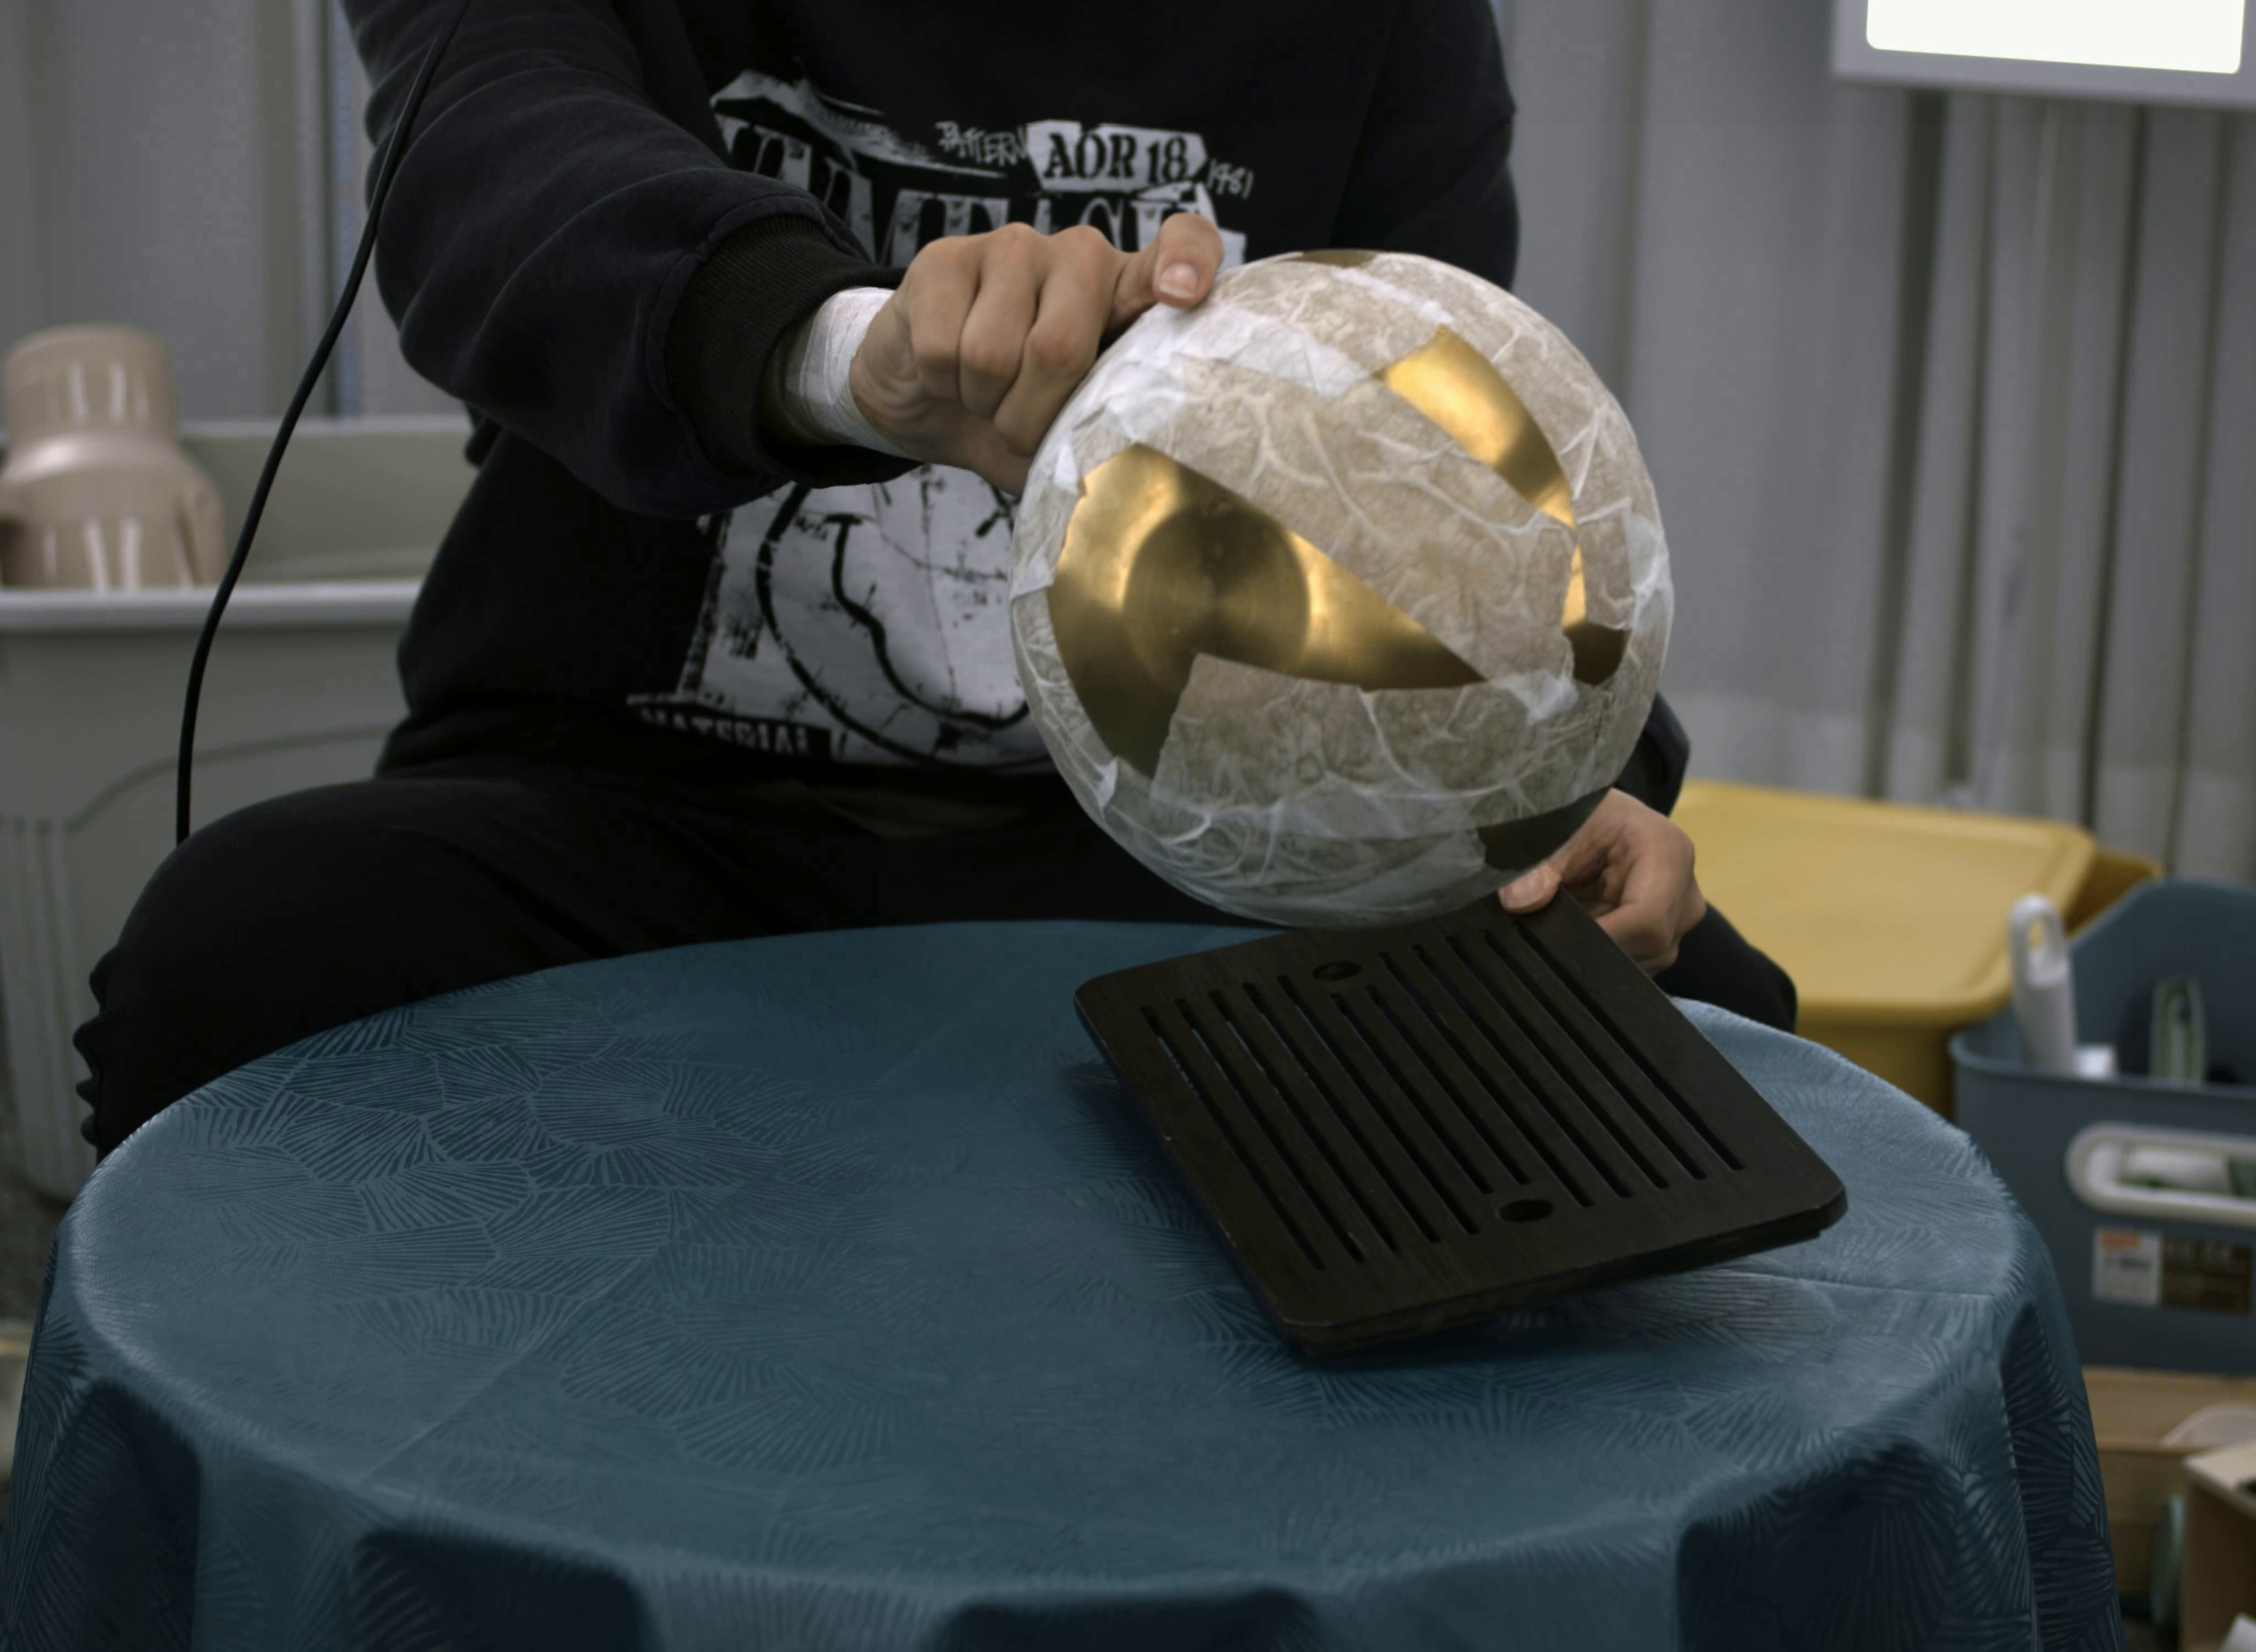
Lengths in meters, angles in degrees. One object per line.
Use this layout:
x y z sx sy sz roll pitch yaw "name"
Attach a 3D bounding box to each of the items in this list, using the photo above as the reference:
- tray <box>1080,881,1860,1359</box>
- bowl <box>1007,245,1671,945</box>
0.097 0.086 1.626 0.170 0.019 0.303 -12 20 -10 "tray"
0.043 -0.061 1.504 0.212 0.216 0.095 9 12 25 "bowl"
